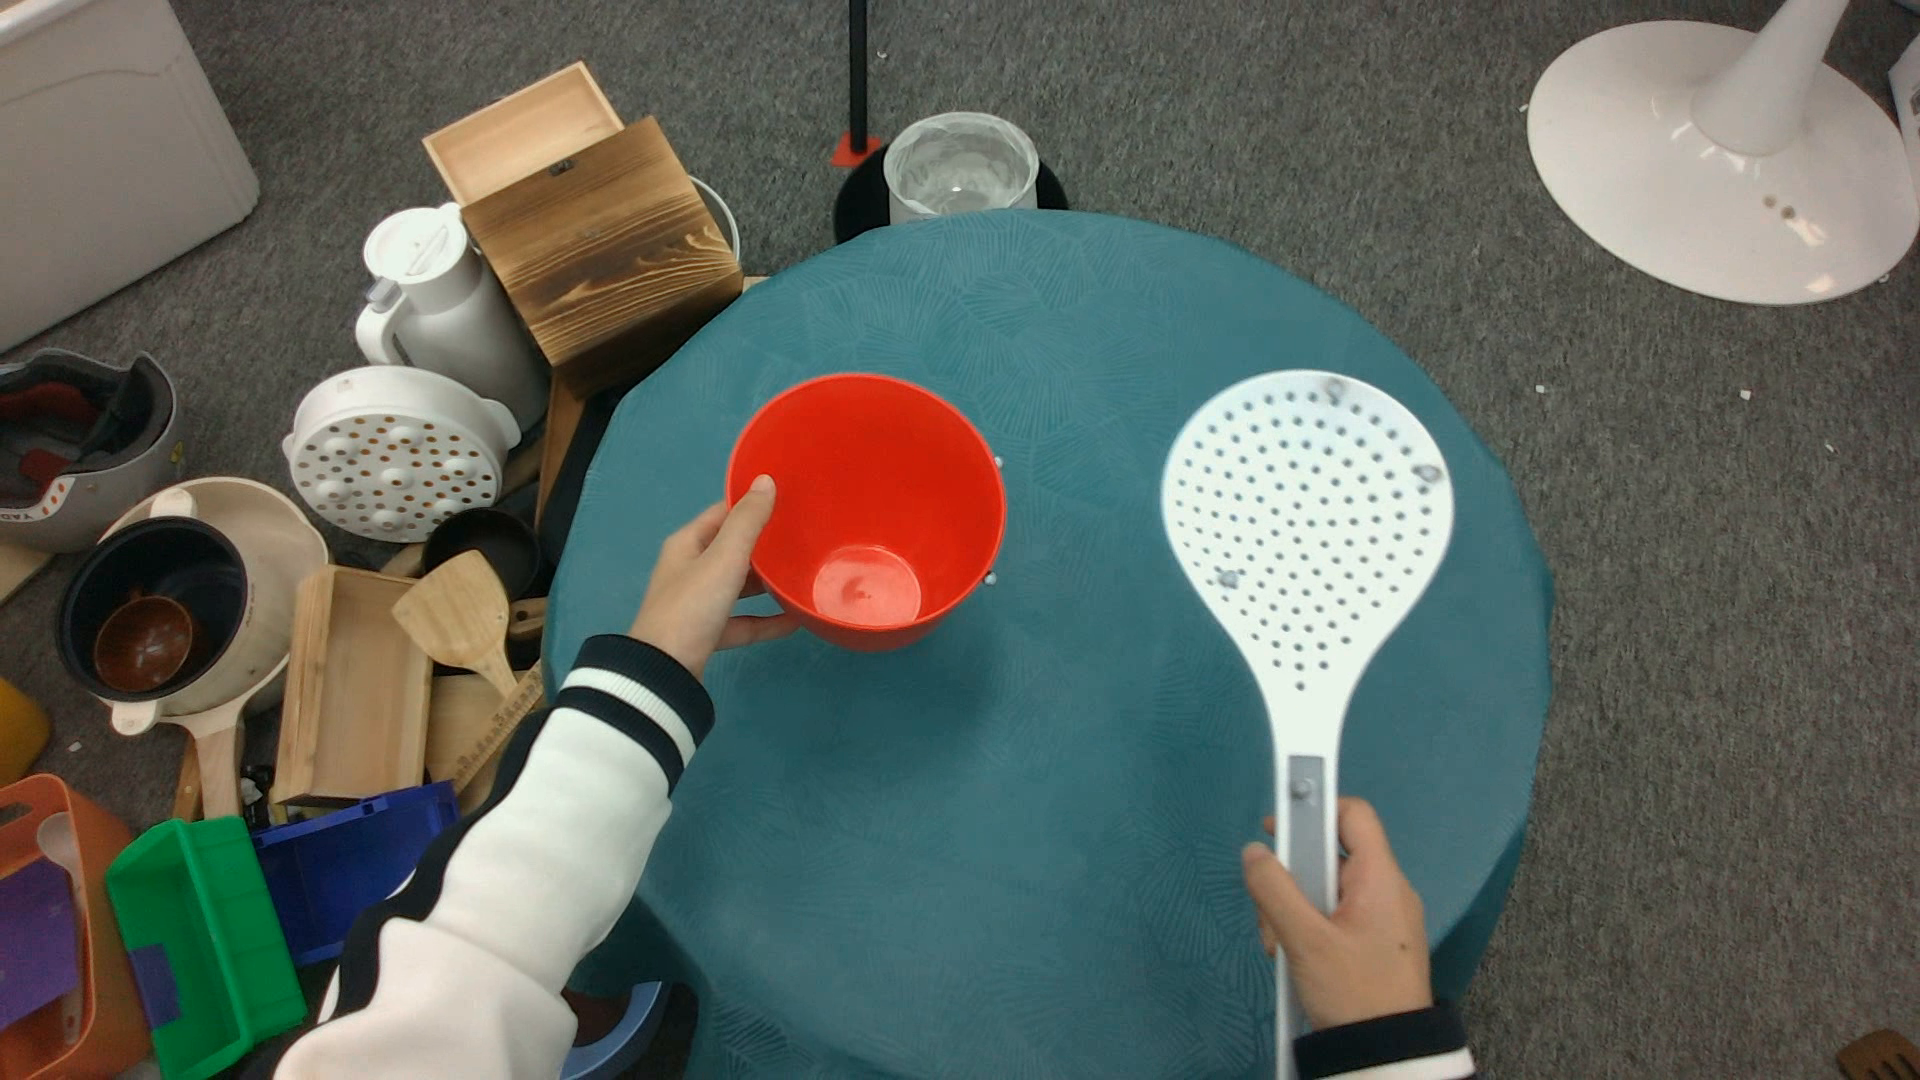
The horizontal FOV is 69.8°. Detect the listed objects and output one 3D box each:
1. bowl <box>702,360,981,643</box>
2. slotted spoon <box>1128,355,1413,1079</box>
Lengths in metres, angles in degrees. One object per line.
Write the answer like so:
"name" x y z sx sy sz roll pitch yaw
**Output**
"bowl" -0.068 -0.008 0.752 0.148 0.104 0.148 6 56 -10
"slotted spoon" 0.144 0.079 0.637 0.136 0.045 0.351 2 68 4
